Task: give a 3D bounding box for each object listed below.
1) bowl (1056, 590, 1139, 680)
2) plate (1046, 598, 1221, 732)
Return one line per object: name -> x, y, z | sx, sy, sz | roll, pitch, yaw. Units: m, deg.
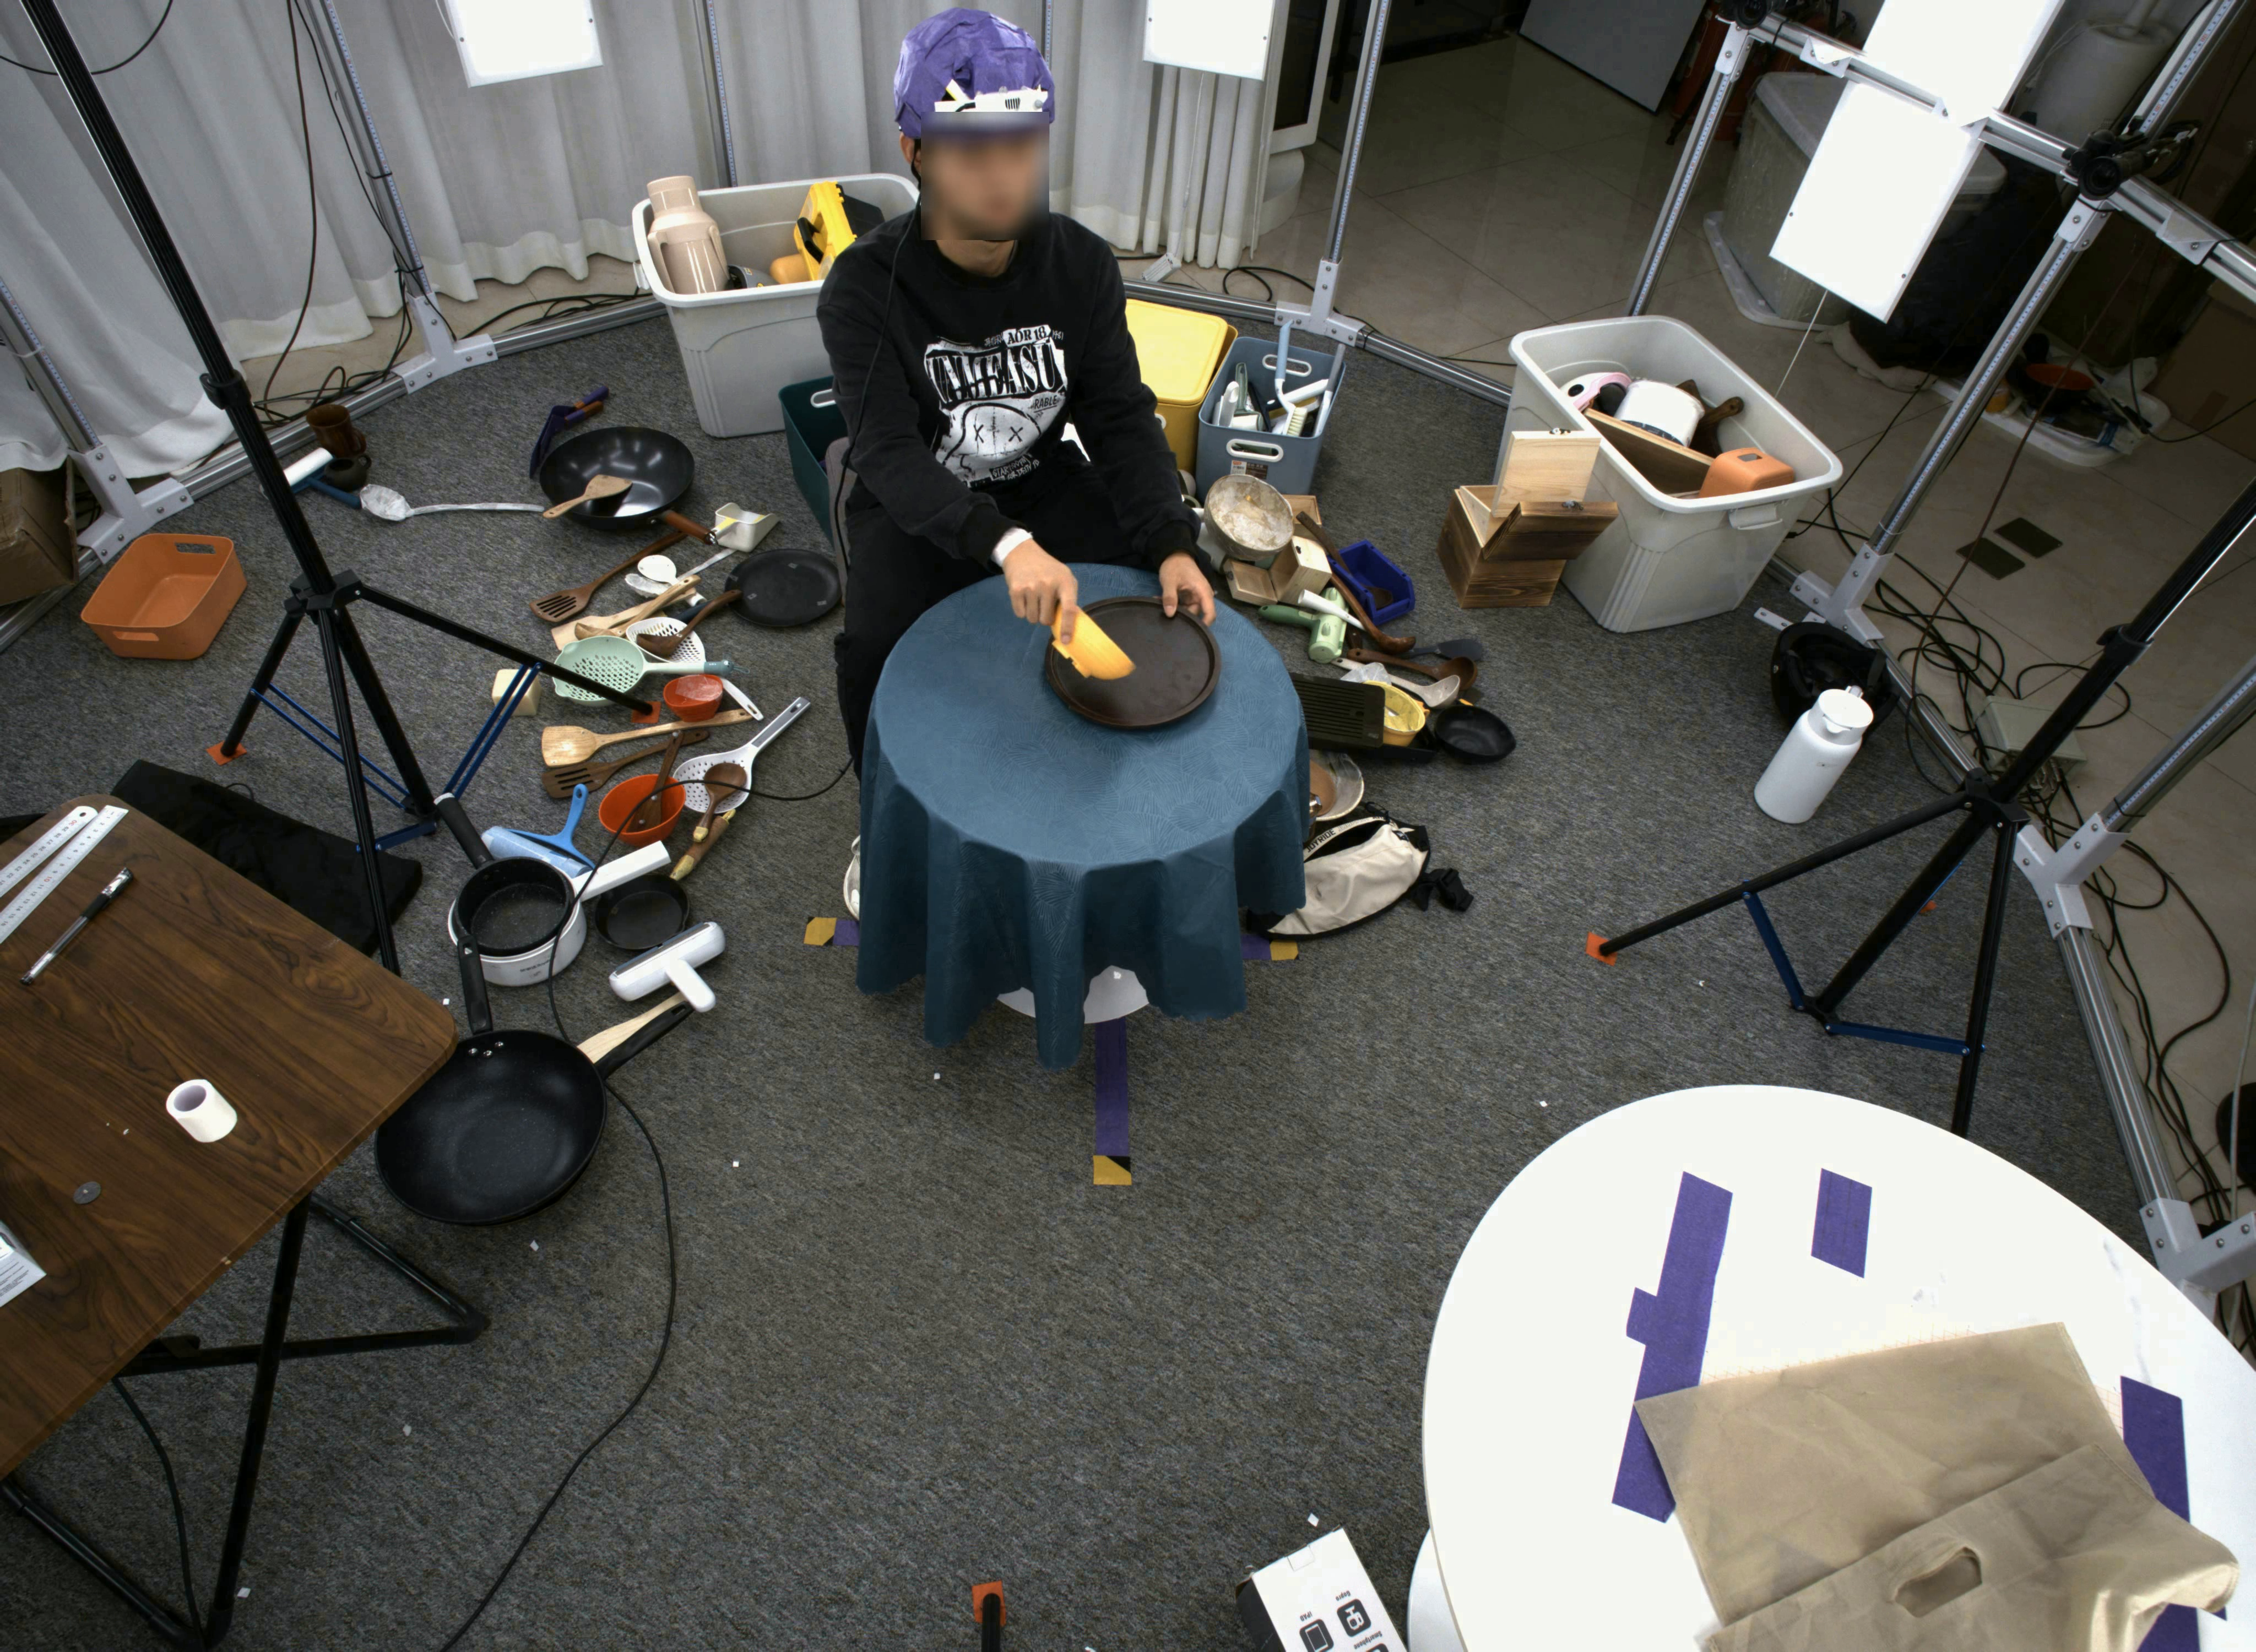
bowl -> -0.054, -0.245, 1.738 | 0.060, 0.142, 0.148 | -42, 58, 4
plate -> 0.008, -0.234, 1.862 | 0.255, 0.028, 0.261 | -2, 52, 2
